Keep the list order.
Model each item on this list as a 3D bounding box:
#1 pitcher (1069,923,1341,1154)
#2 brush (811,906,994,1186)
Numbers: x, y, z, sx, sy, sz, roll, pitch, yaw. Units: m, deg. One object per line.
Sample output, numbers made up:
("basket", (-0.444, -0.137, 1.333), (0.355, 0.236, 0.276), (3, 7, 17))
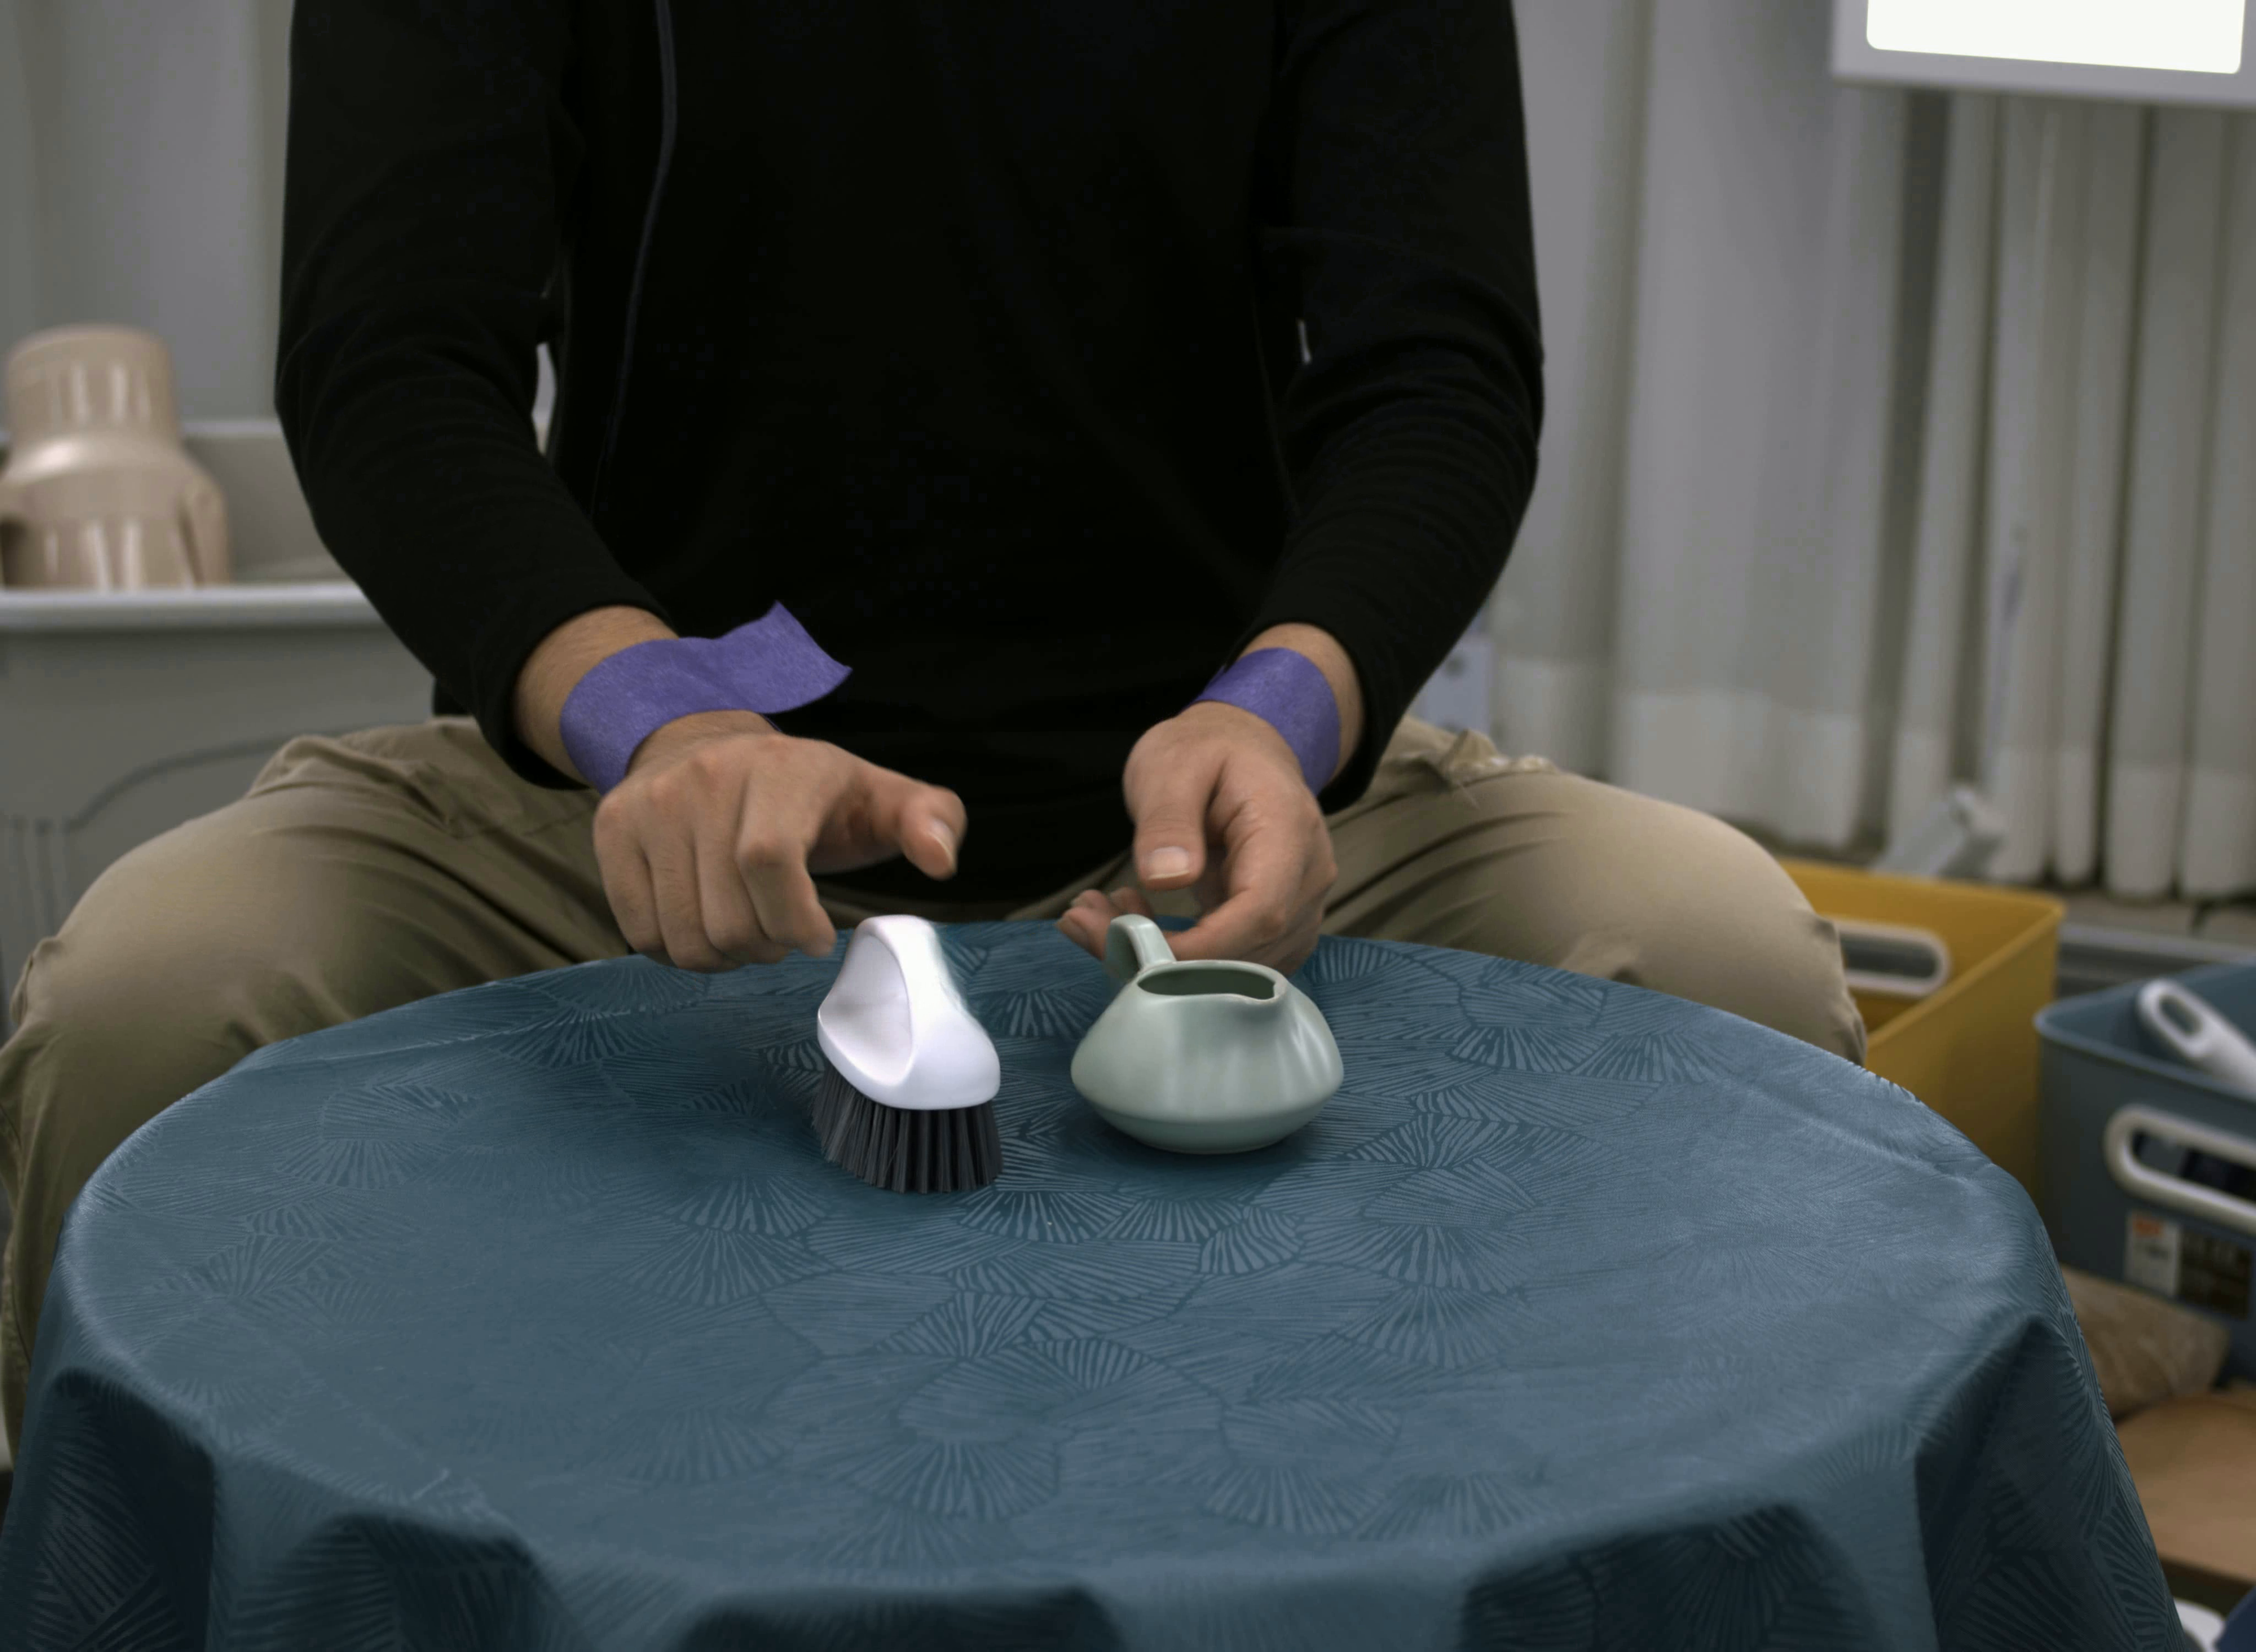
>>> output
("pitcher", (0.019, 0.068, 1.679), (0.086, 0.061, 0.106), (-8, 15, -30))
("brush", (-0.071, 0.064, 1.652), (0.050, 0.073, 0.098), (-2, 18, -15))
